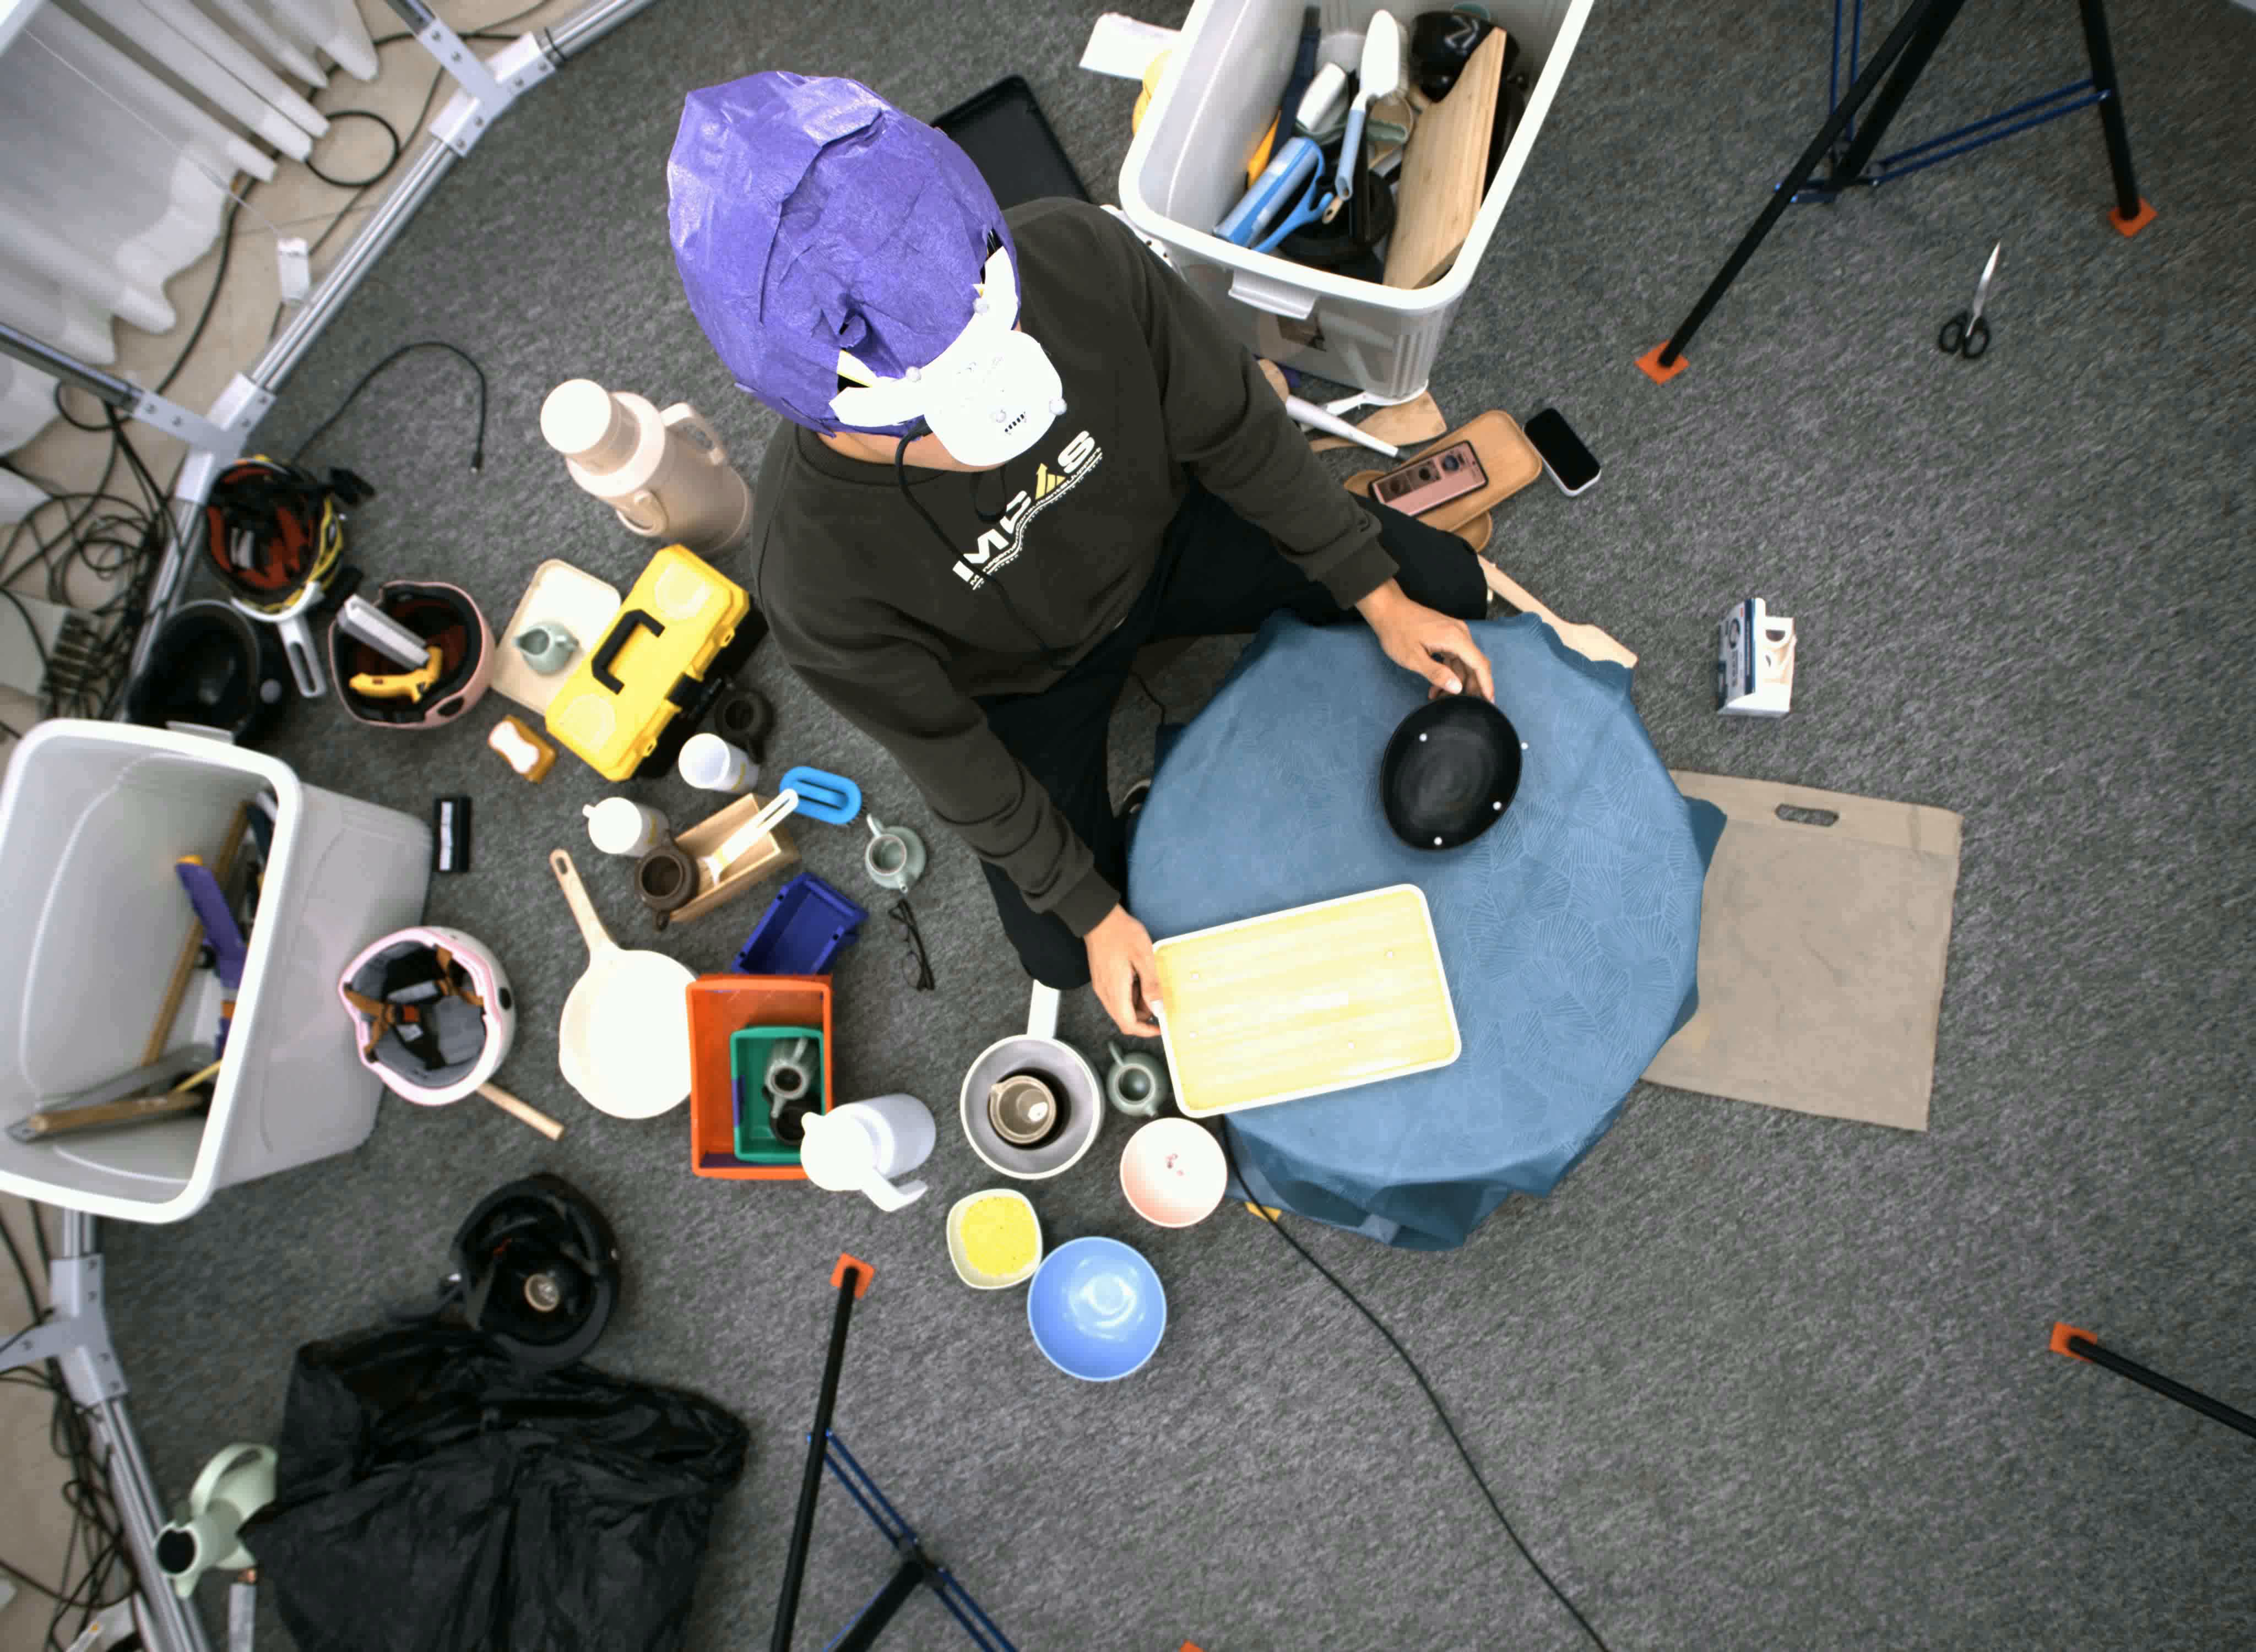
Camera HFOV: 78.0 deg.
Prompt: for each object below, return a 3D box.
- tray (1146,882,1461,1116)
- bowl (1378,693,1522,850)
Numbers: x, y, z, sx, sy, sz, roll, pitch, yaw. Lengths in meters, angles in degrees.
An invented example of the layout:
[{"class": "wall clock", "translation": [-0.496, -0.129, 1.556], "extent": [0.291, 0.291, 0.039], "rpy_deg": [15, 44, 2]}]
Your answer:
[{"class": "tray", "translation": [0.182, 0.181, 1.456], "extent": [0.302, 0.027, 0.190], "rpy_deg": [-14, 84, 9]}, {"class": "bowl", "translation": [0.332, -0.054, 1.425], "extent": [0.137, 0.066, 0.170], "rpy_deg": [27, 93, 13]}]
